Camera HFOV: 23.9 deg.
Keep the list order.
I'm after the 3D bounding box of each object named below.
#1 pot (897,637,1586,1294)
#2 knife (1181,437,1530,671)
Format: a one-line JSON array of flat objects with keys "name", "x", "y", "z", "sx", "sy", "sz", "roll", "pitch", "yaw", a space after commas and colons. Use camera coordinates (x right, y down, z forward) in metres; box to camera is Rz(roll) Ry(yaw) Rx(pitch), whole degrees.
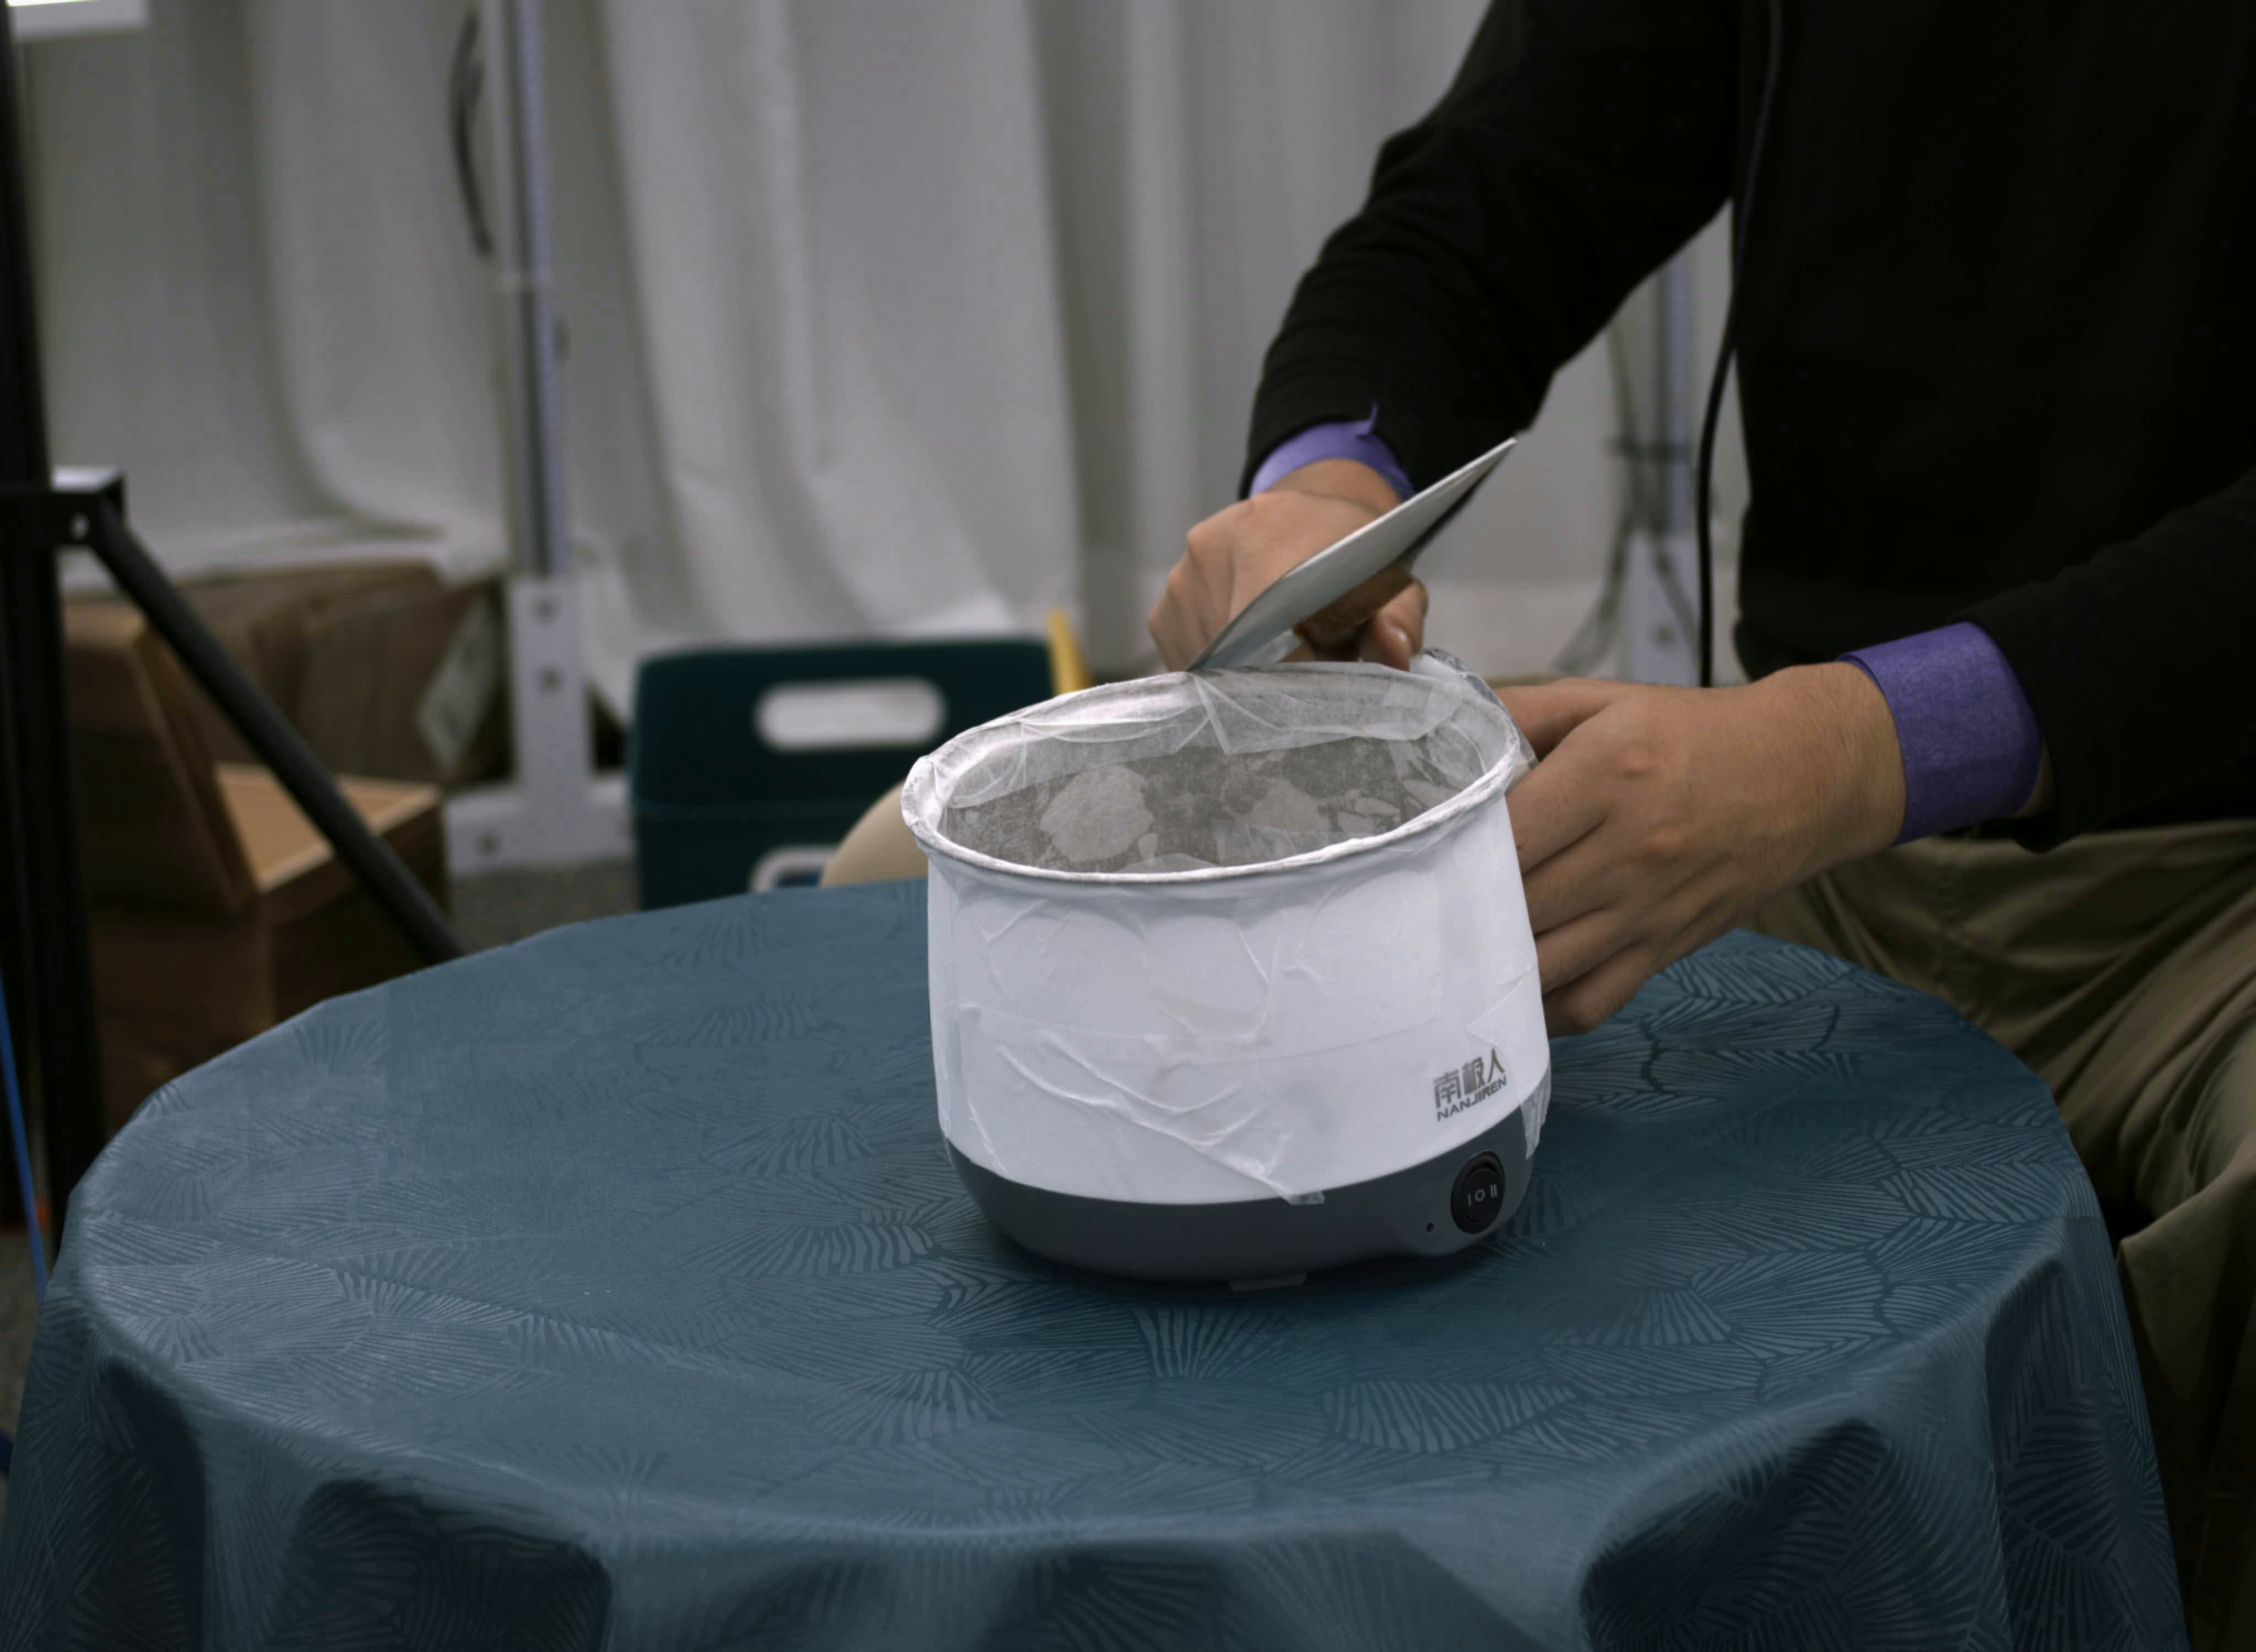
[{"name": "pot", "x": 0.047, "y": 0.032, "z": 1.532, "sx": 0.183, "sy": 0.136, "sz": 0.229, "roll": 12, "pitch": 28, "yaw": 41}, {"name": "knife", "x": 0.053, "y": -0.063, "z": 1.631, "sx": 0.092, "sy": 0.021, "sz": 0.307, "roll": -29, "pitch": -4, "yaw": -12}]
